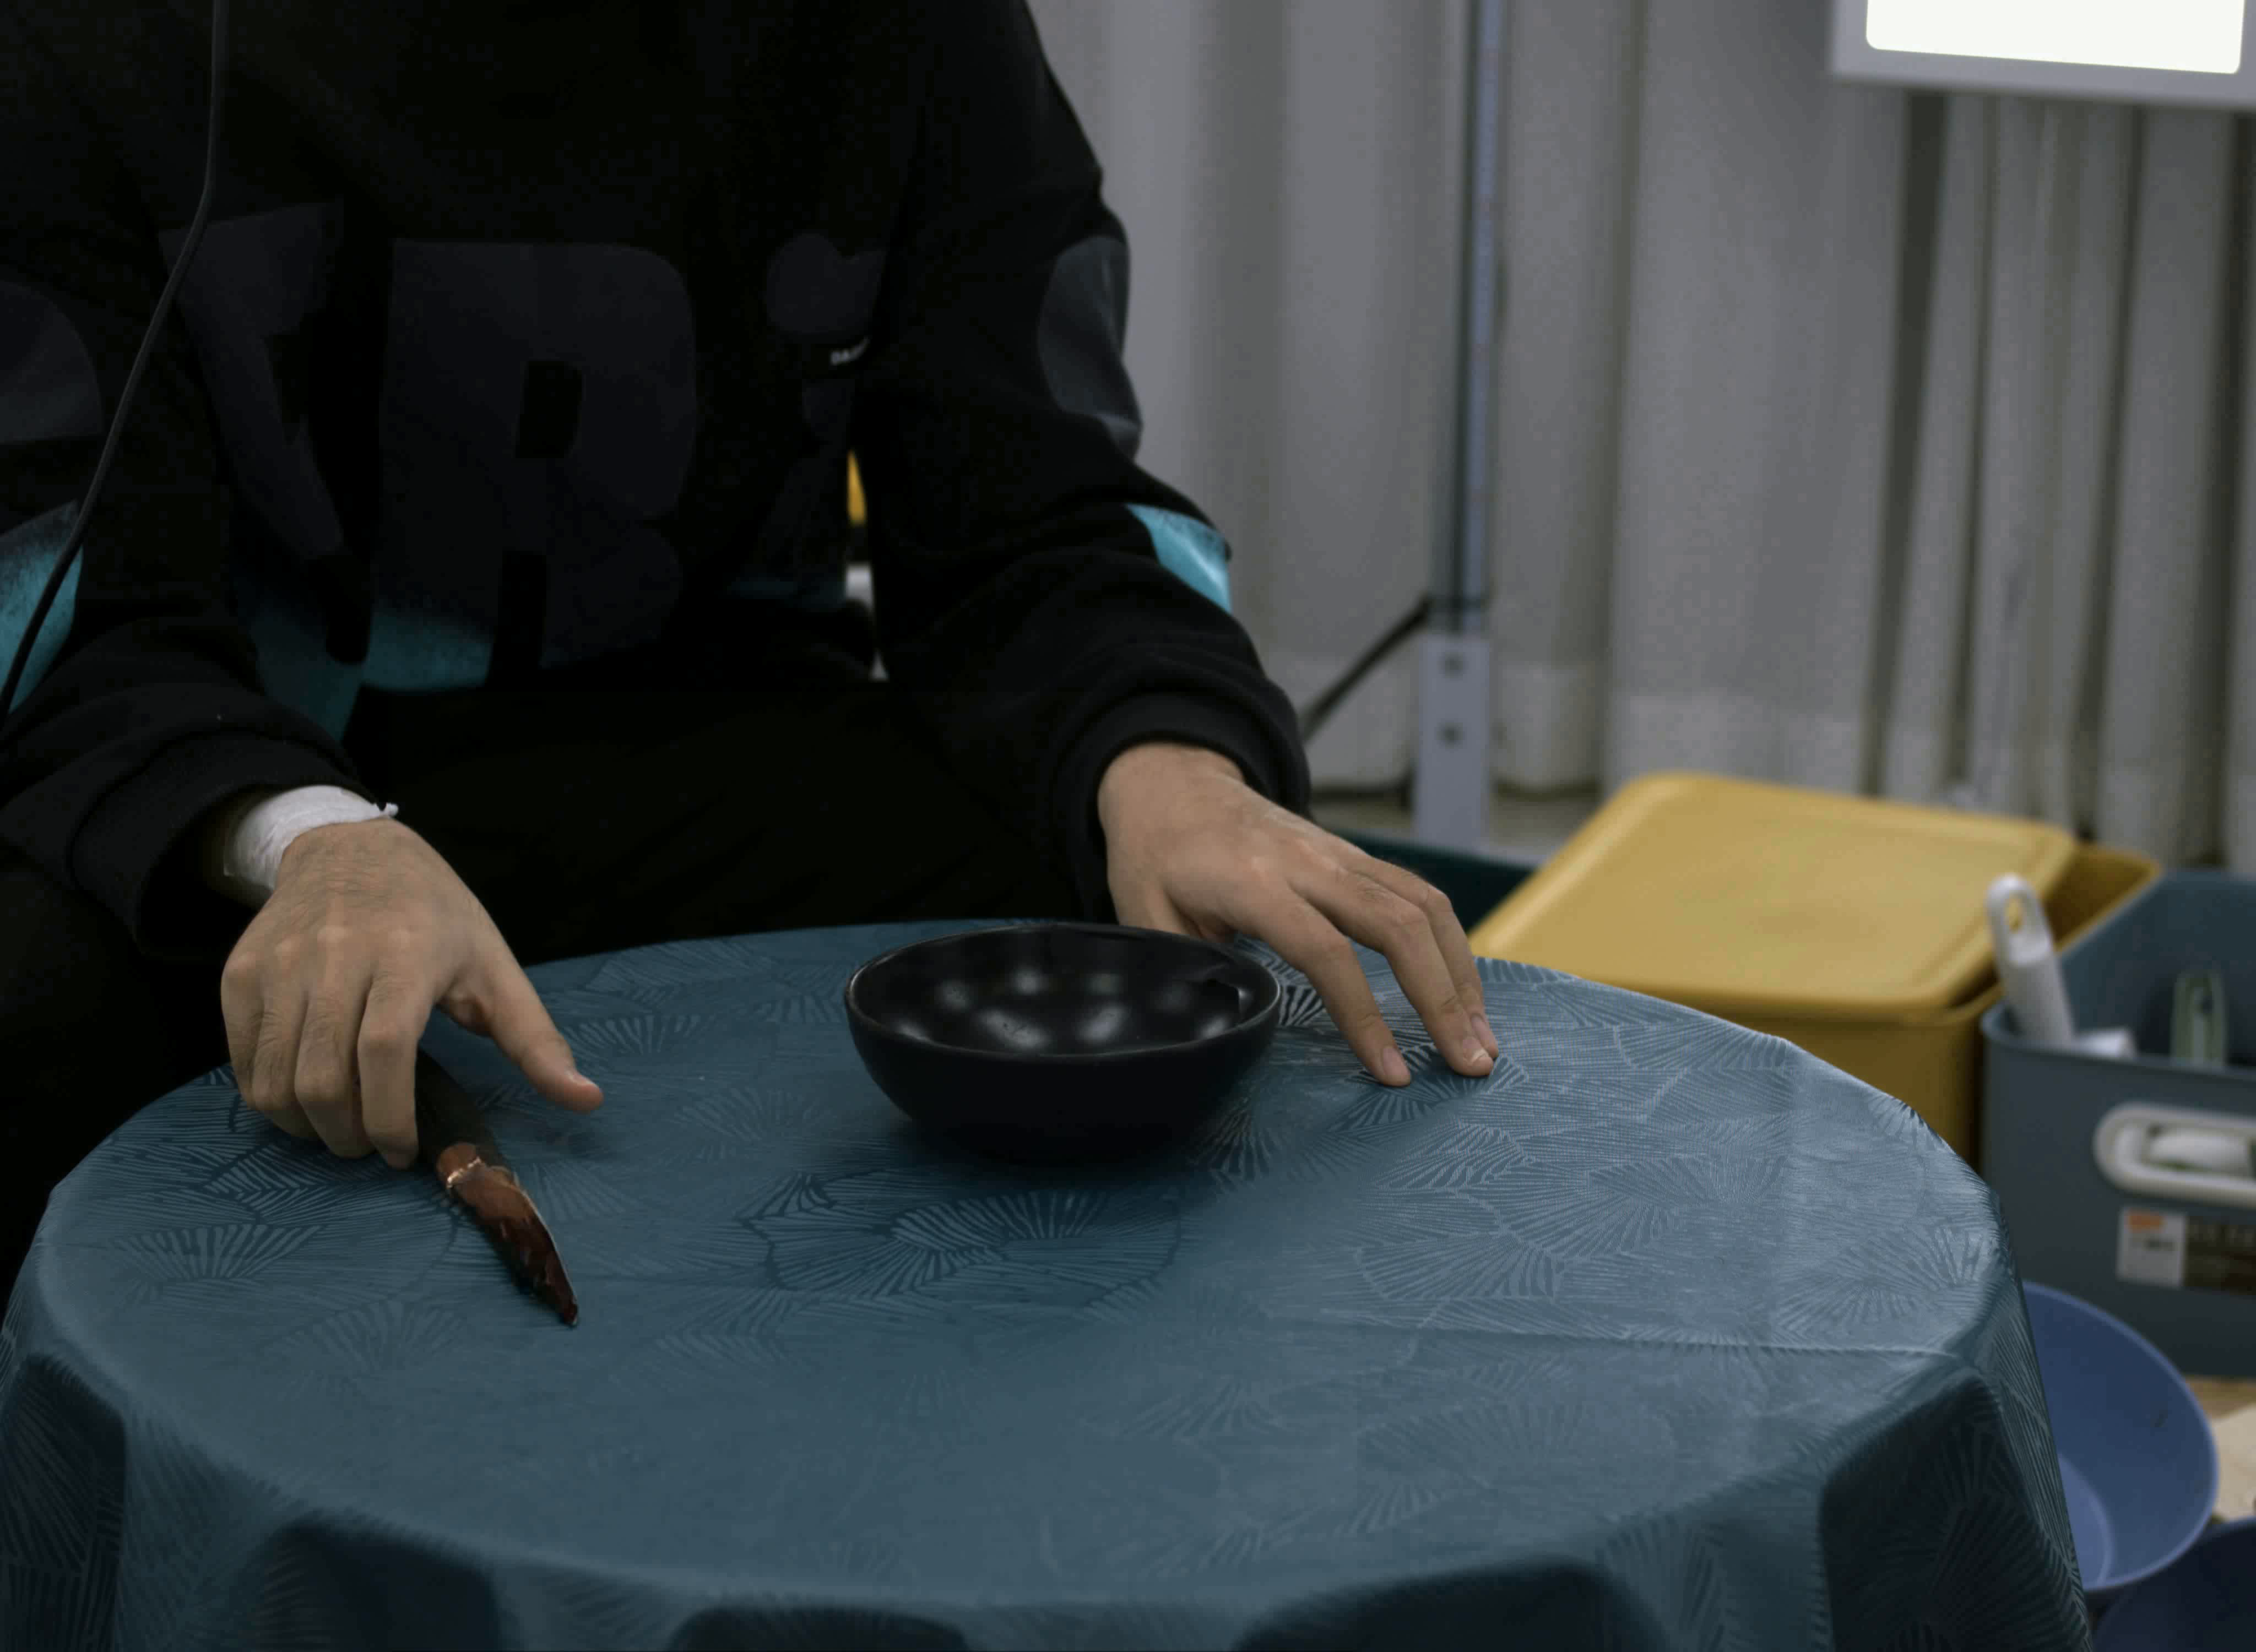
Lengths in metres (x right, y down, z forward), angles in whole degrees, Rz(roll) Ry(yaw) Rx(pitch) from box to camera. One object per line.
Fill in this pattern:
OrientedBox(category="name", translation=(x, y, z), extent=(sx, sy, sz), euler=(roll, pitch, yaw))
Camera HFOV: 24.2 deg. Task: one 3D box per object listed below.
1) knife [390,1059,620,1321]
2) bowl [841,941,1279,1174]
OrientedBox(category="knife", translation=(-0.192, 0.110, 1.603), extent=(0.026, 0.017, 0.223), euler=(-3, 17, -21))
OrientedBox(category="bowl", translation=(-0.020, 0.077, 1.668), extent=(0.139, 0.050, 0.139), euler=(-3, 13, 1))
